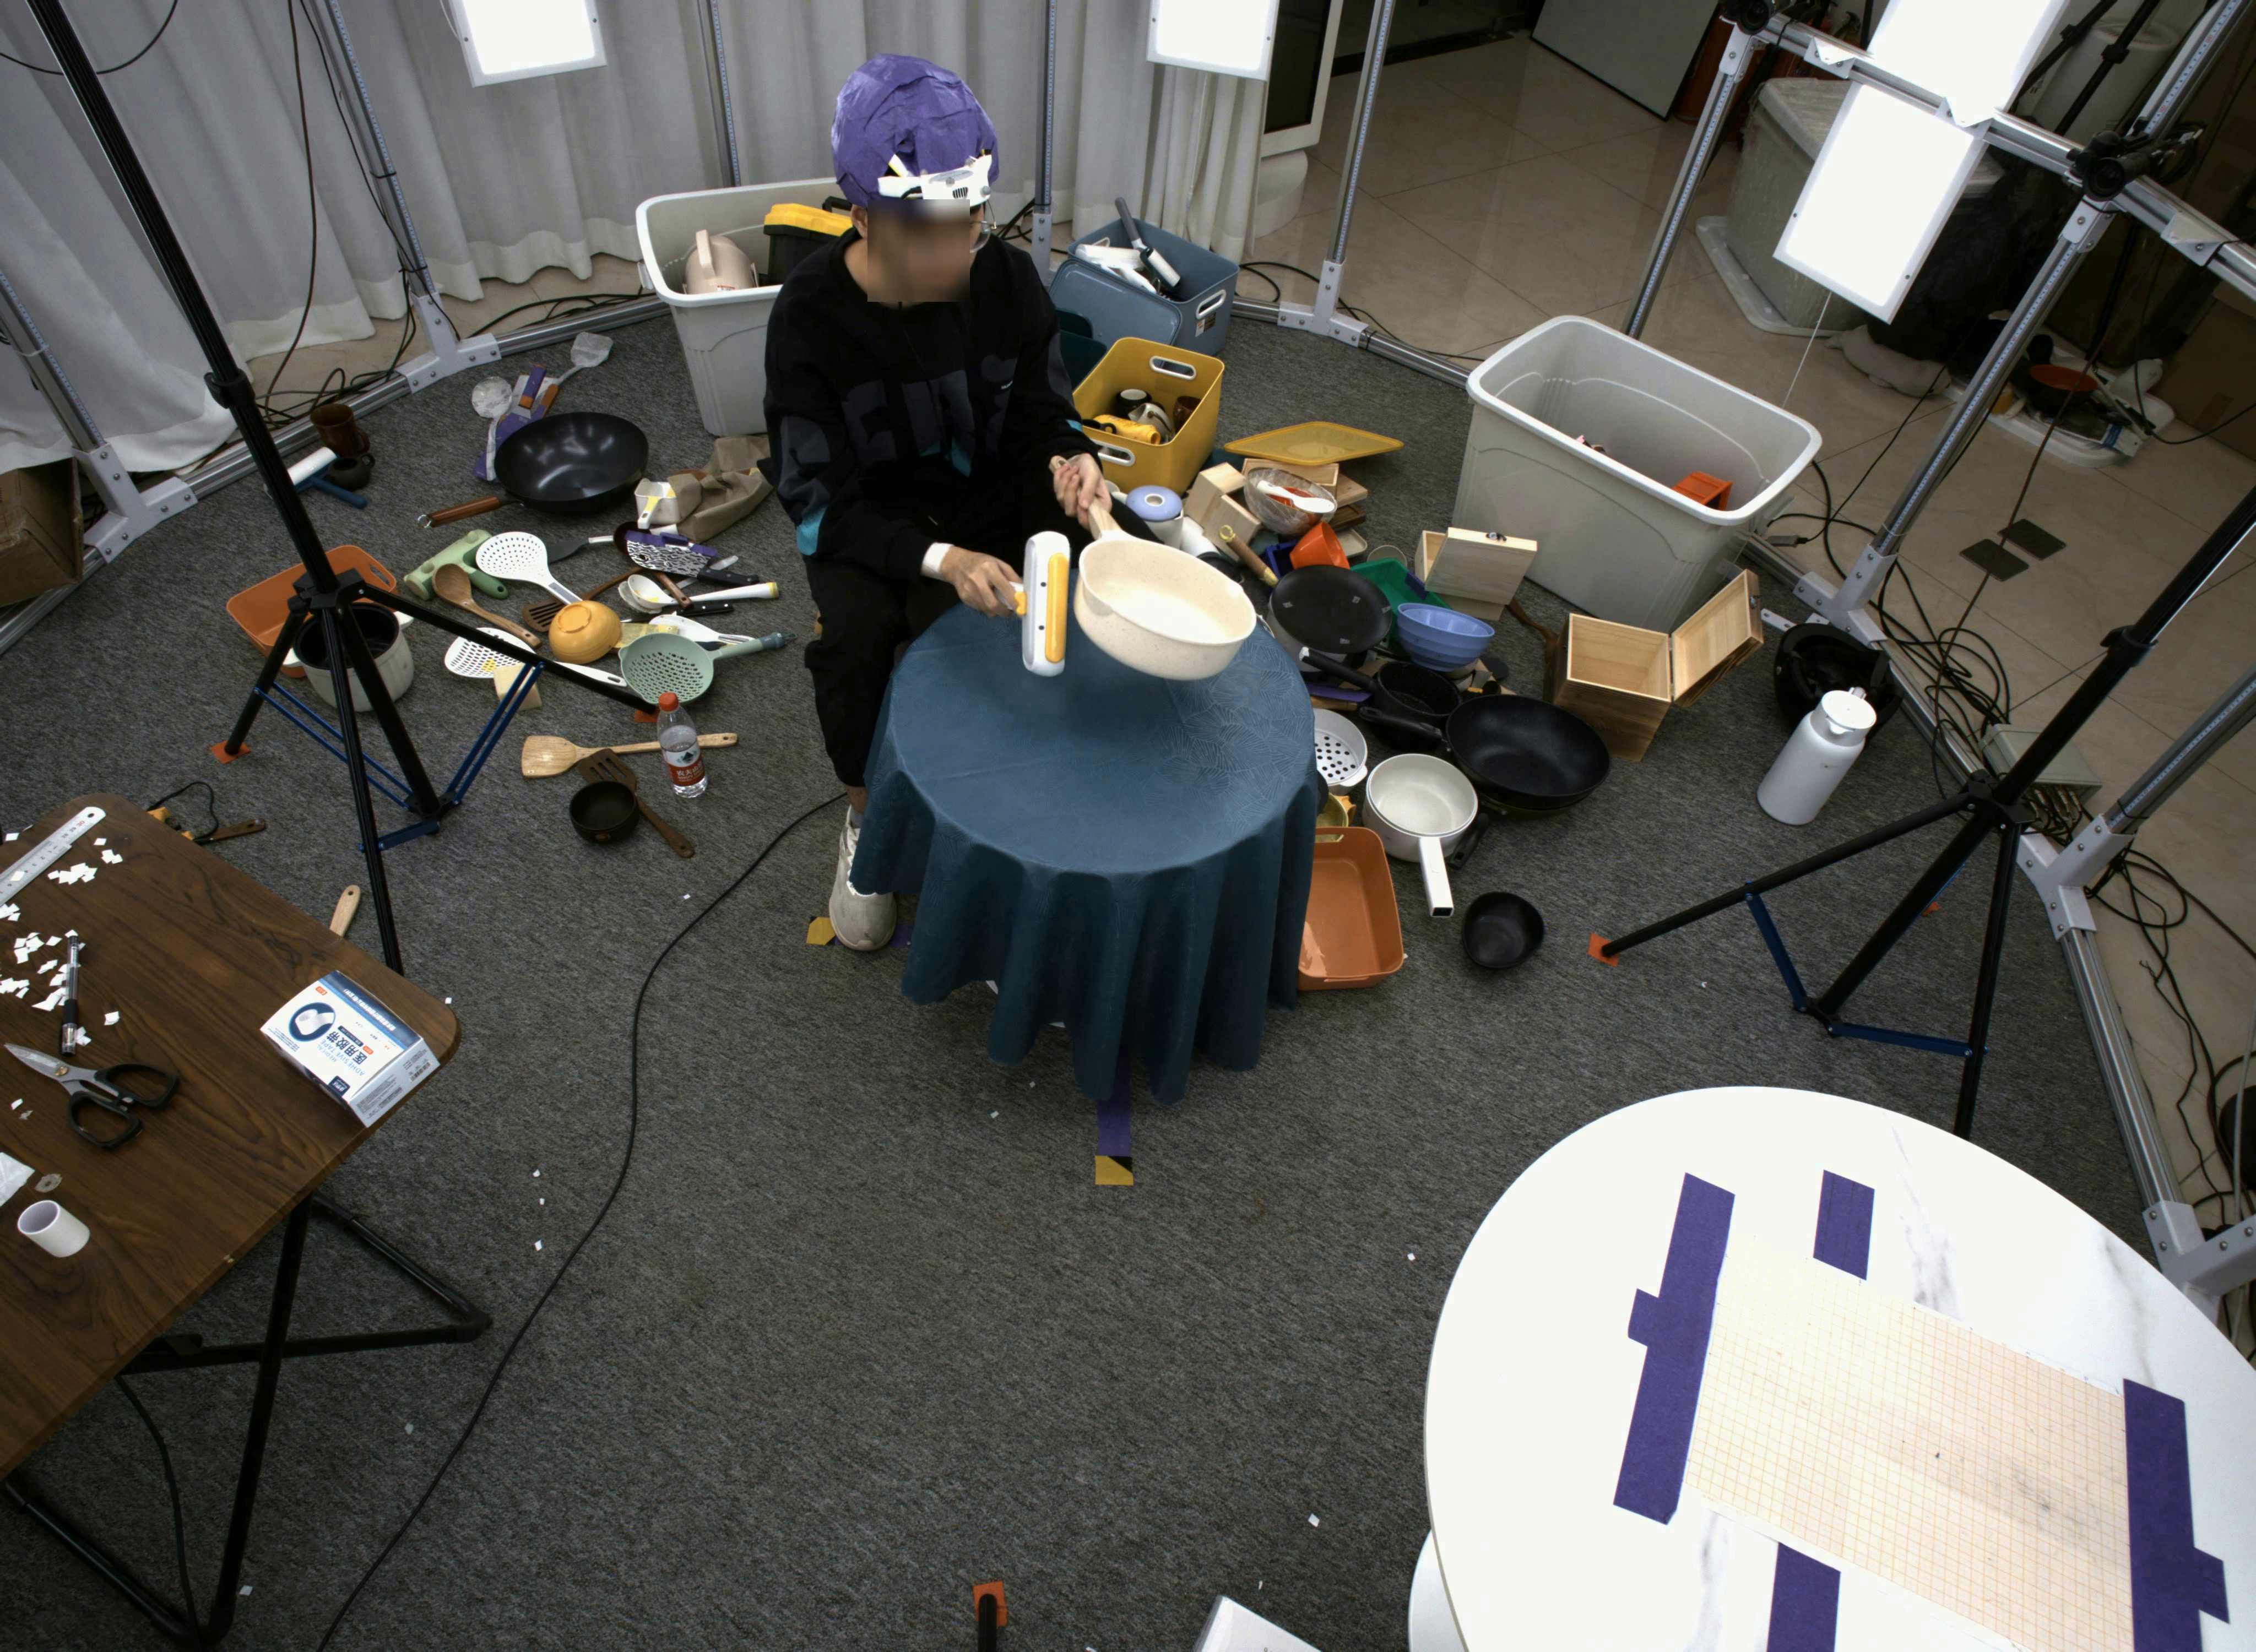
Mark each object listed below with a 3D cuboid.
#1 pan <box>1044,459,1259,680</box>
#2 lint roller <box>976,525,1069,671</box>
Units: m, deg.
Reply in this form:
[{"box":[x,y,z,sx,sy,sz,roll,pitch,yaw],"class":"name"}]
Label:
[{"box":[-0.003,-0.354,1.783,0.263,0.100,0.444,-12,48,-36],"class":"pan"},{"box":[-0.145,-0.317,1.773,0.074,0.190,0.195,-11,18,-28],"class":"lint roller"}]
